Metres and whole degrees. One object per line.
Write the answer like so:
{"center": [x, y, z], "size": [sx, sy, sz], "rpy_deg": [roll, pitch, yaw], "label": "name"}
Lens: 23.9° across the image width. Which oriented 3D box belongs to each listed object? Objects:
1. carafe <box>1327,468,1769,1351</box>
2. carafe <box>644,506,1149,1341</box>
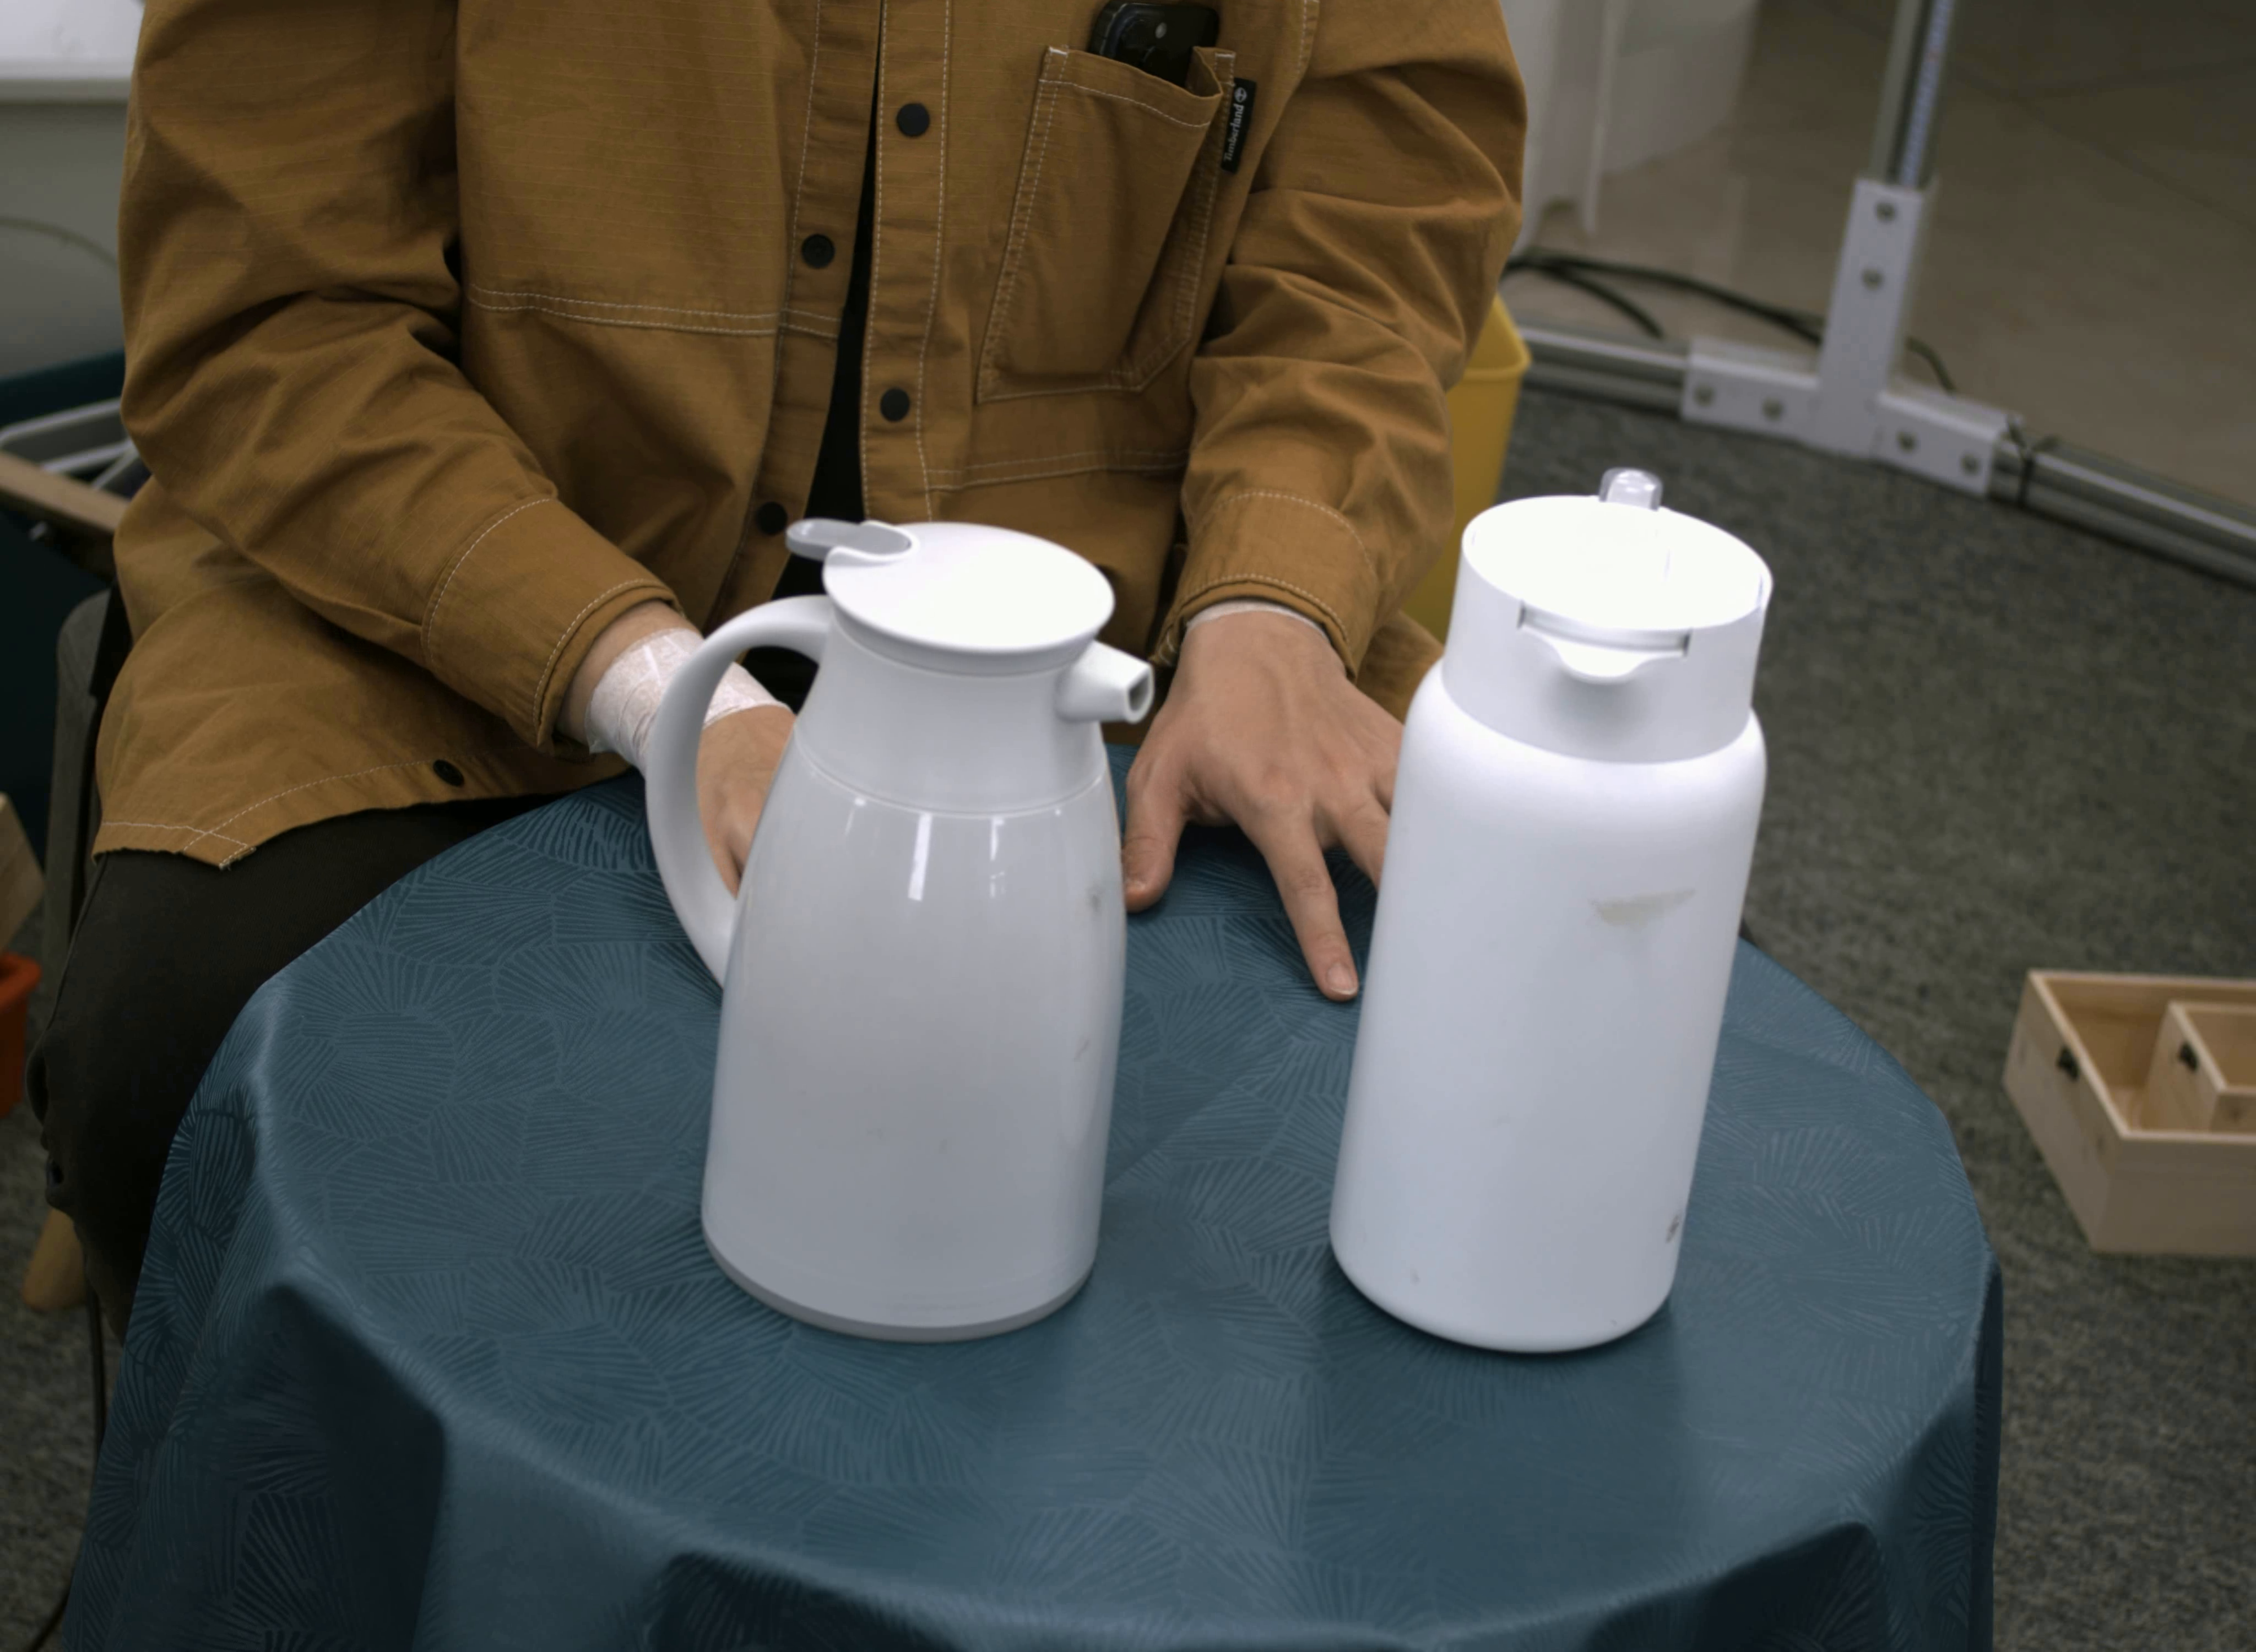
{"center": [0.139, 0.023, 1.740], "size": [0.123, 0.268, 0.173], "rpy_deg": [7, 26, 6], "label": "carafe"}
{"center": [-0.081, 0.021, 1.715], "size": [0.168, 0.248, 0.132], "rpy_deg": [16, 27, 20], "label": "carafe"}
